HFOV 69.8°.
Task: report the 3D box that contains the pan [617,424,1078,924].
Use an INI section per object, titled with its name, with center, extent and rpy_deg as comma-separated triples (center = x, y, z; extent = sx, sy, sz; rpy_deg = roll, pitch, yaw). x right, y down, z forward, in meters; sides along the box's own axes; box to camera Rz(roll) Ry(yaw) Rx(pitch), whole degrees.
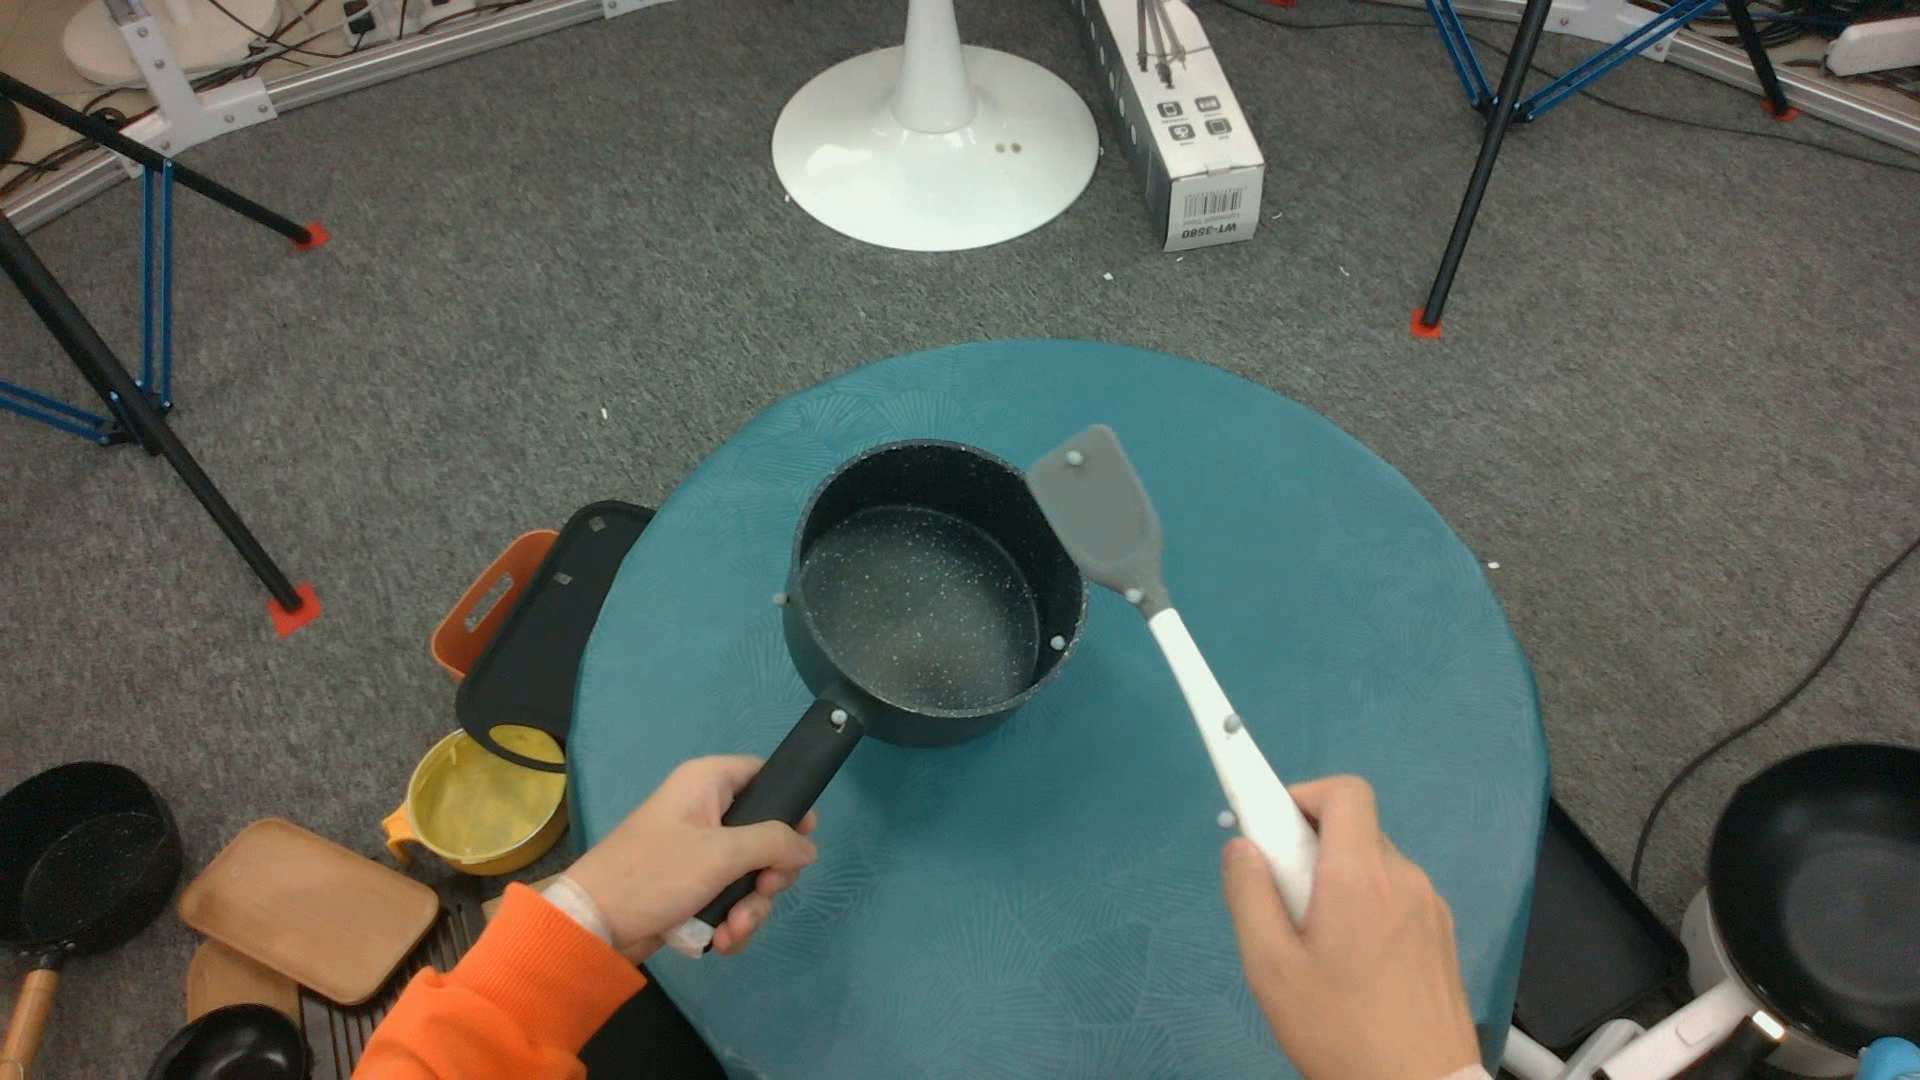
[pan]
center = -0.066, 0.078, 0.750
extent = 0.172, 0.086, 0.330
rpy_deg = 36, 58, 5

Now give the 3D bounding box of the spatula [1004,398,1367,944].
[spatula]
center = 0.101, 0.052, 0.651
extent = 0.058, 0.032, 0.288
rpy_deg = -38, 58, 19
